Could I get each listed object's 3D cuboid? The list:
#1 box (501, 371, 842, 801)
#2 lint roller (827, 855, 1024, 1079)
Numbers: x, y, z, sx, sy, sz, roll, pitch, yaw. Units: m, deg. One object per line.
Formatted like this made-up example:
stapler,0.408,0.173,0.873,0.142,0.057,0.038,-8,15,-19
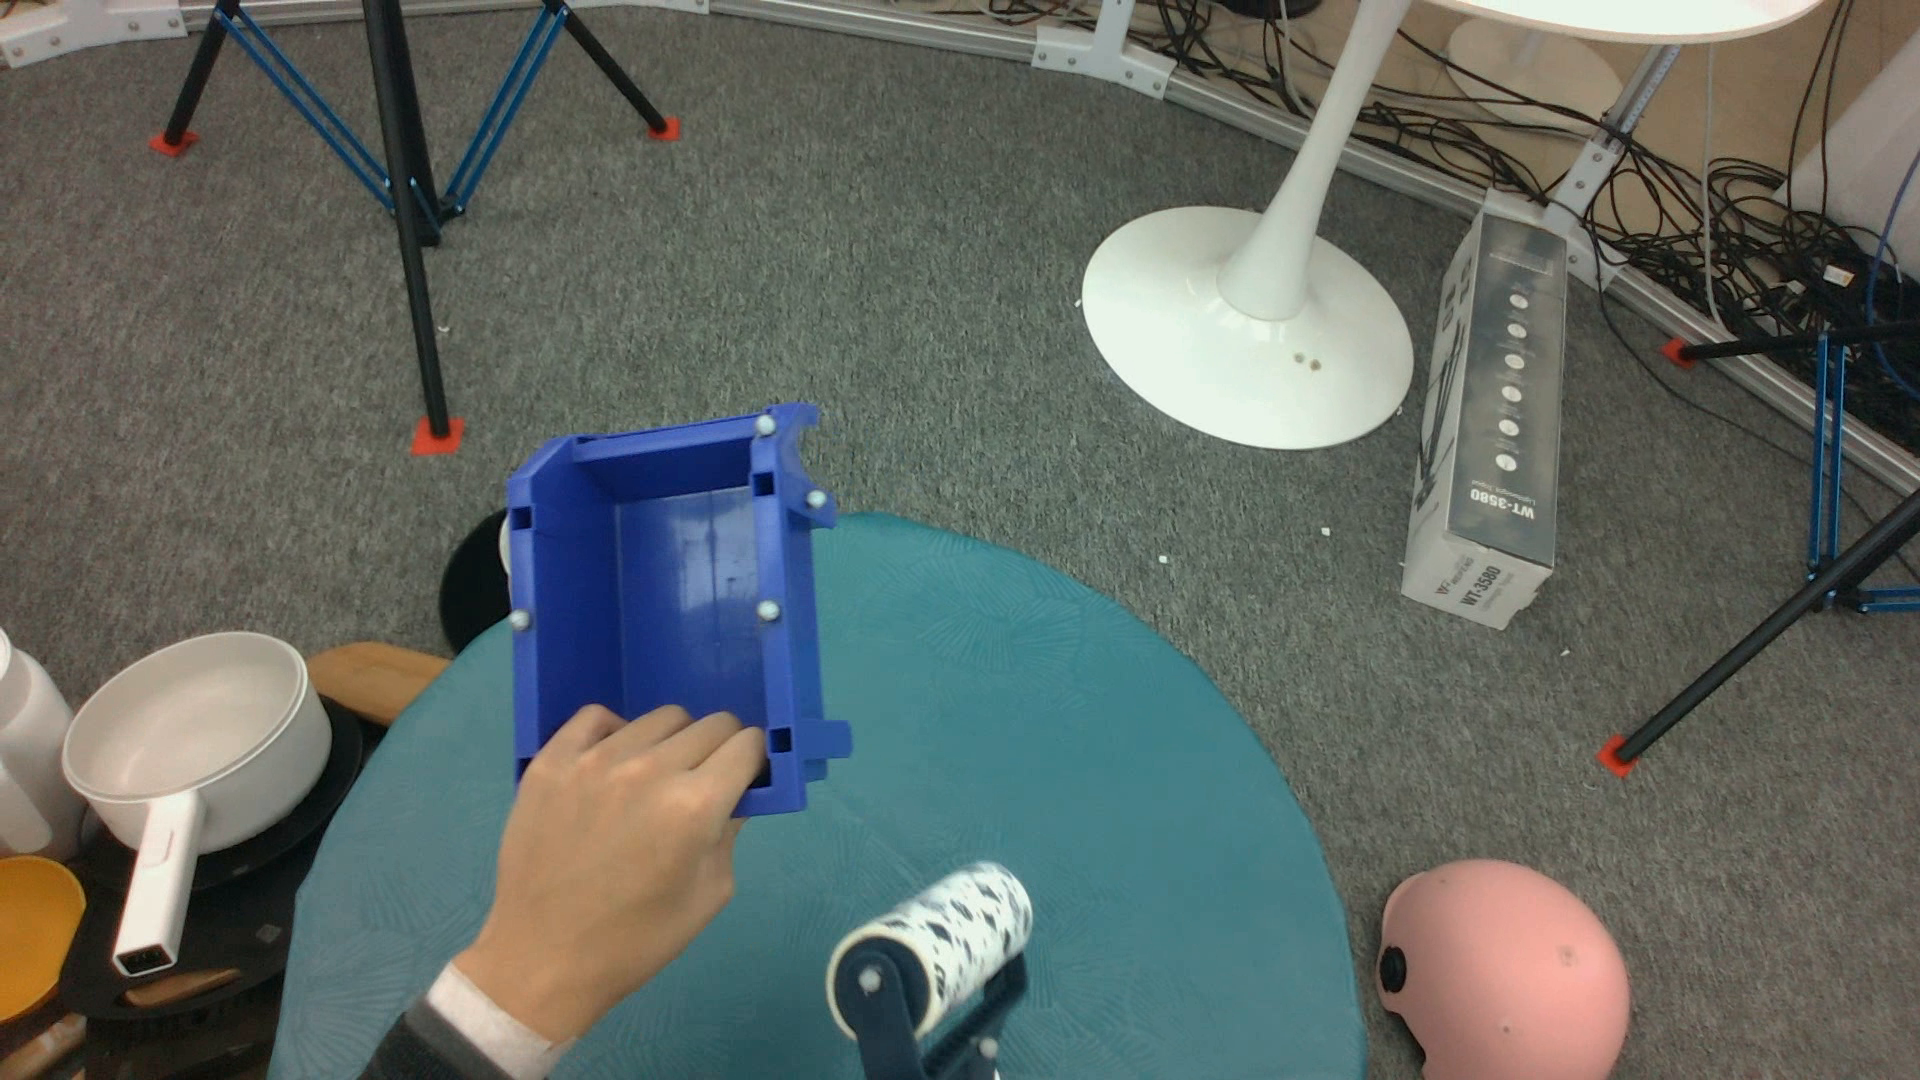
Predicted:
box,-0.127,0.017,0.603,0.124,0.082,0.179,-6,83,11
lint roller,0.018,0.270,0.605,0.050,0.176,0.247,-19,82,13
